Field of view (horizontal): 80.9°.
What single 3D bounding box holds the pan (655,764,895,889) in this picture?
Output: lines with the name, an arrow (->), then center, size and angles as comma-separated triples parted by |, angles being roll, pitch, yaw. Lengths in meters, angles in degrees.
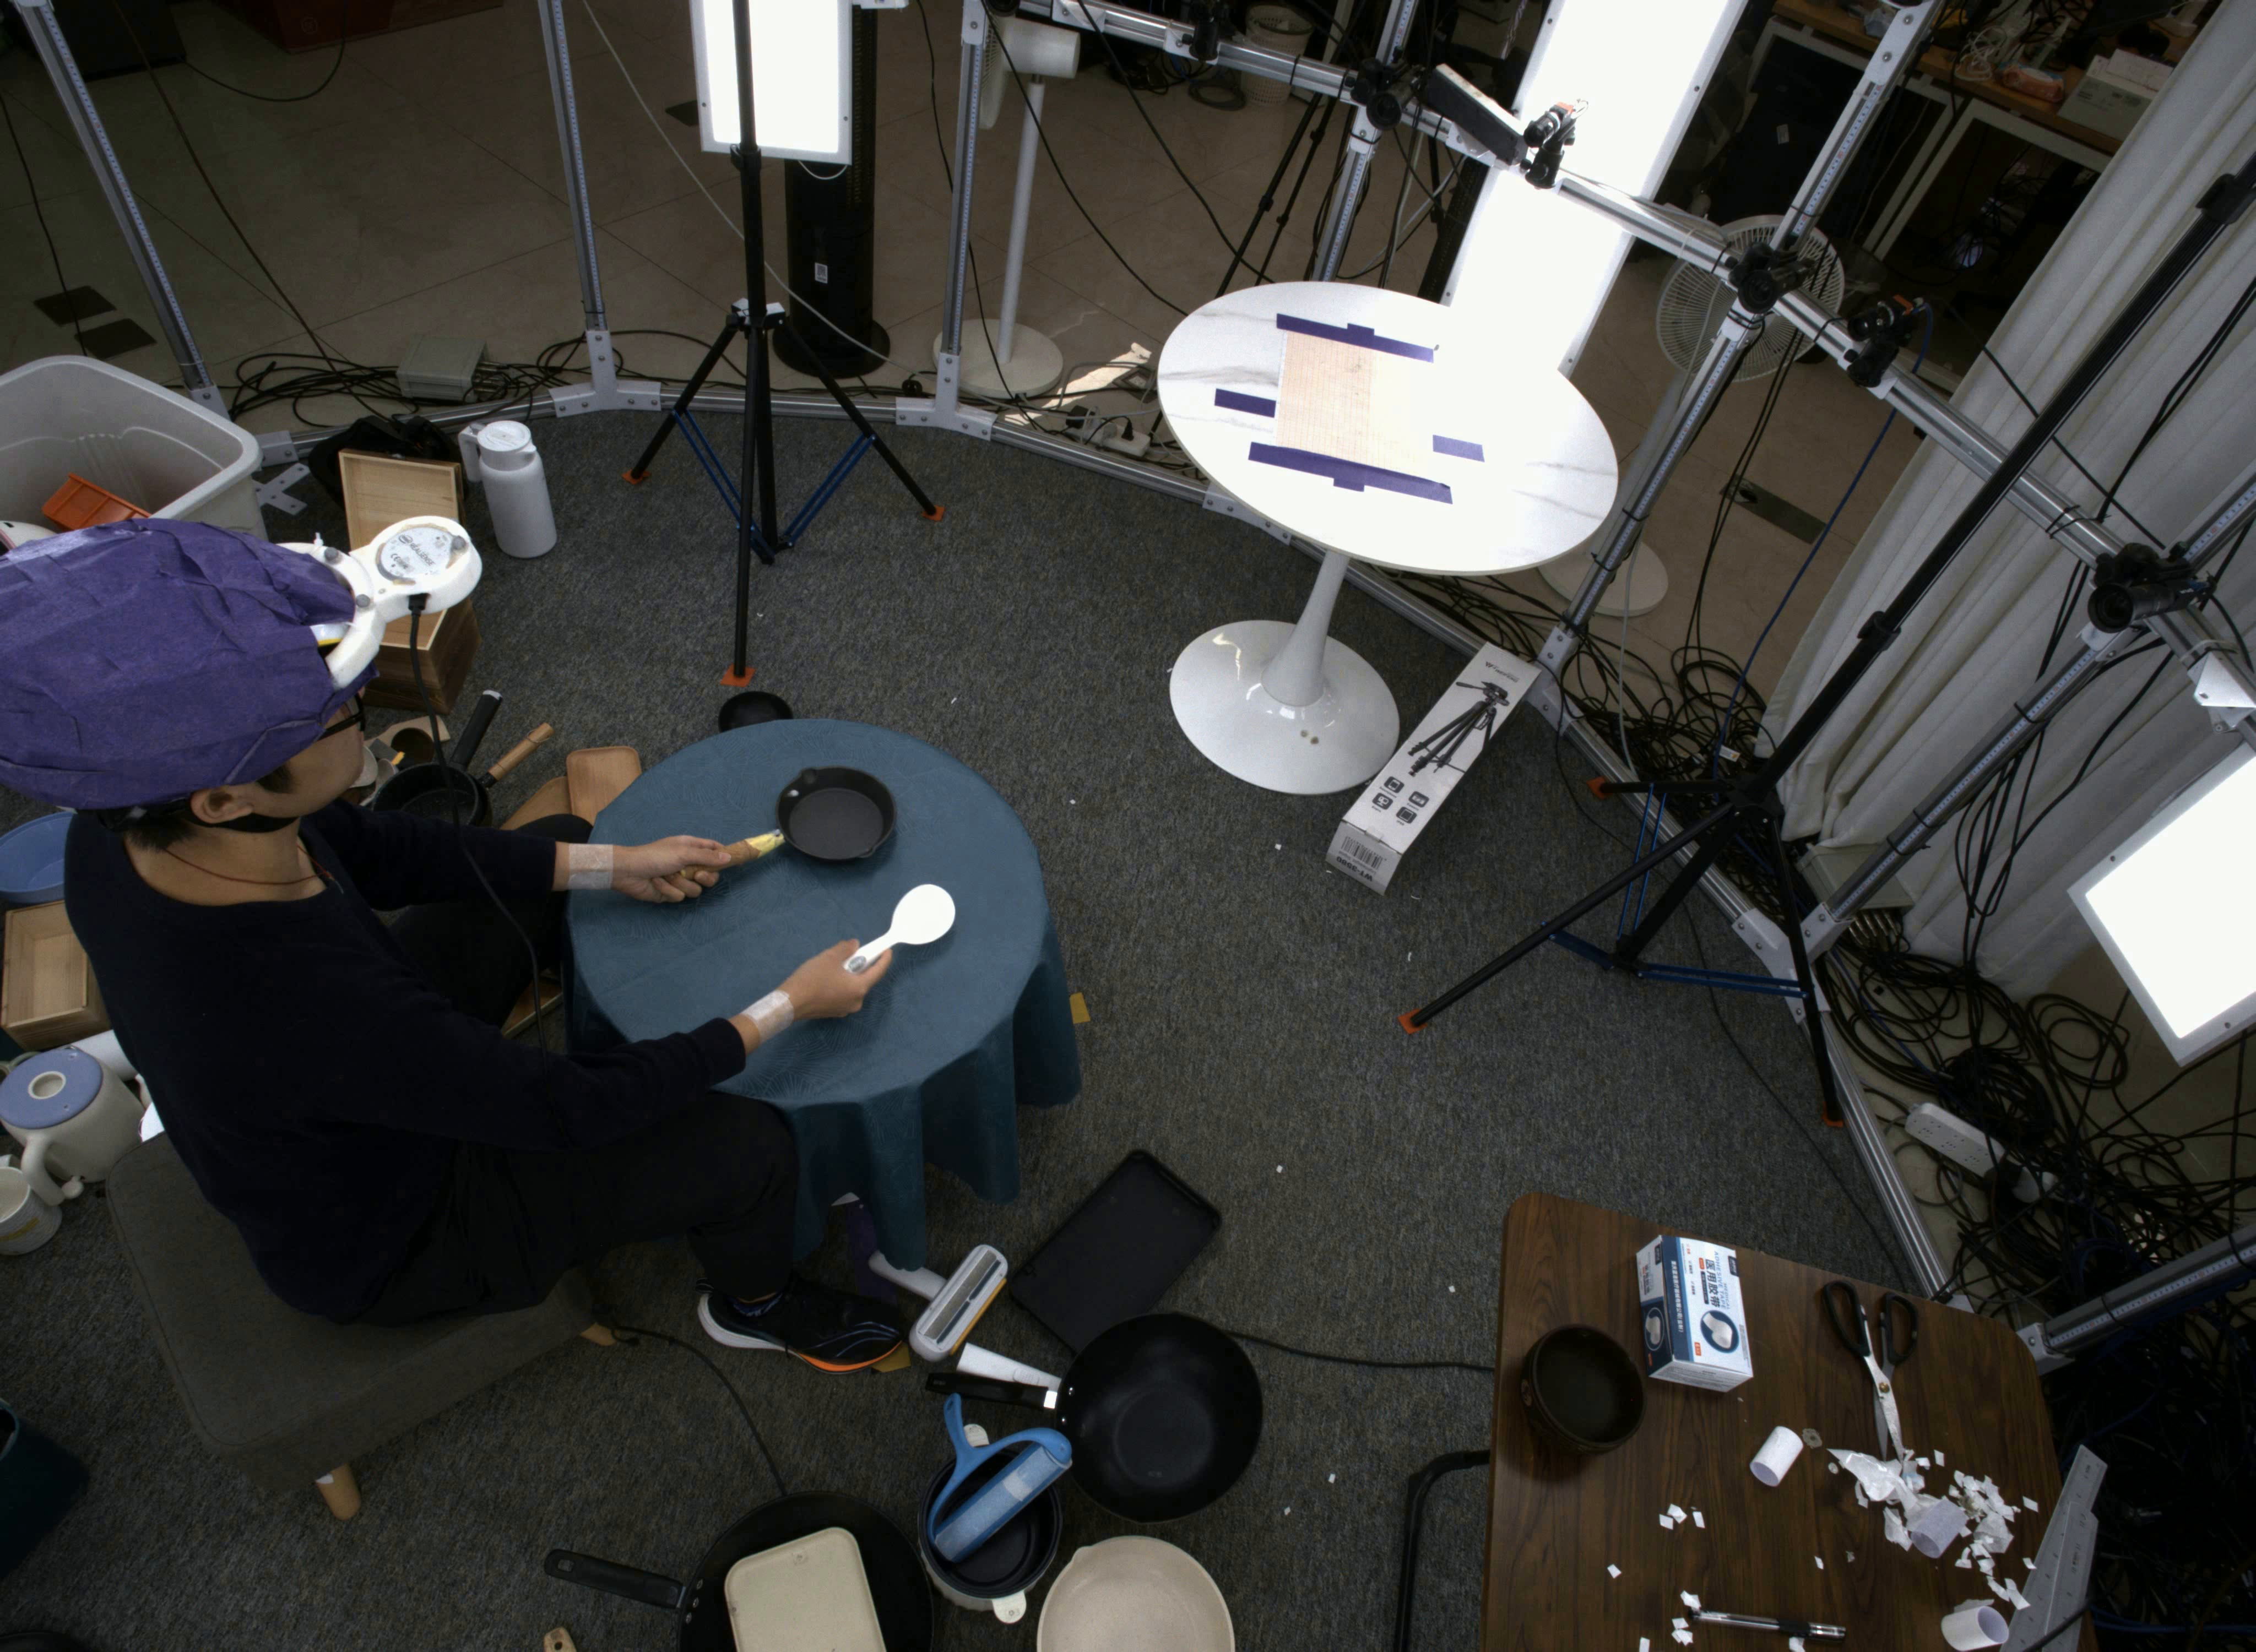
pan -> -0.453, 0.014, 1.662 | 0.326, 0.050, 0.165 | -24, 63, -31

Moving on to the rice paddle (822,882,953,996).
rice paddle -> -0.287, 0.134, 1.585 | 0.205, 0.029, 0.070 | -39, 107, -39
